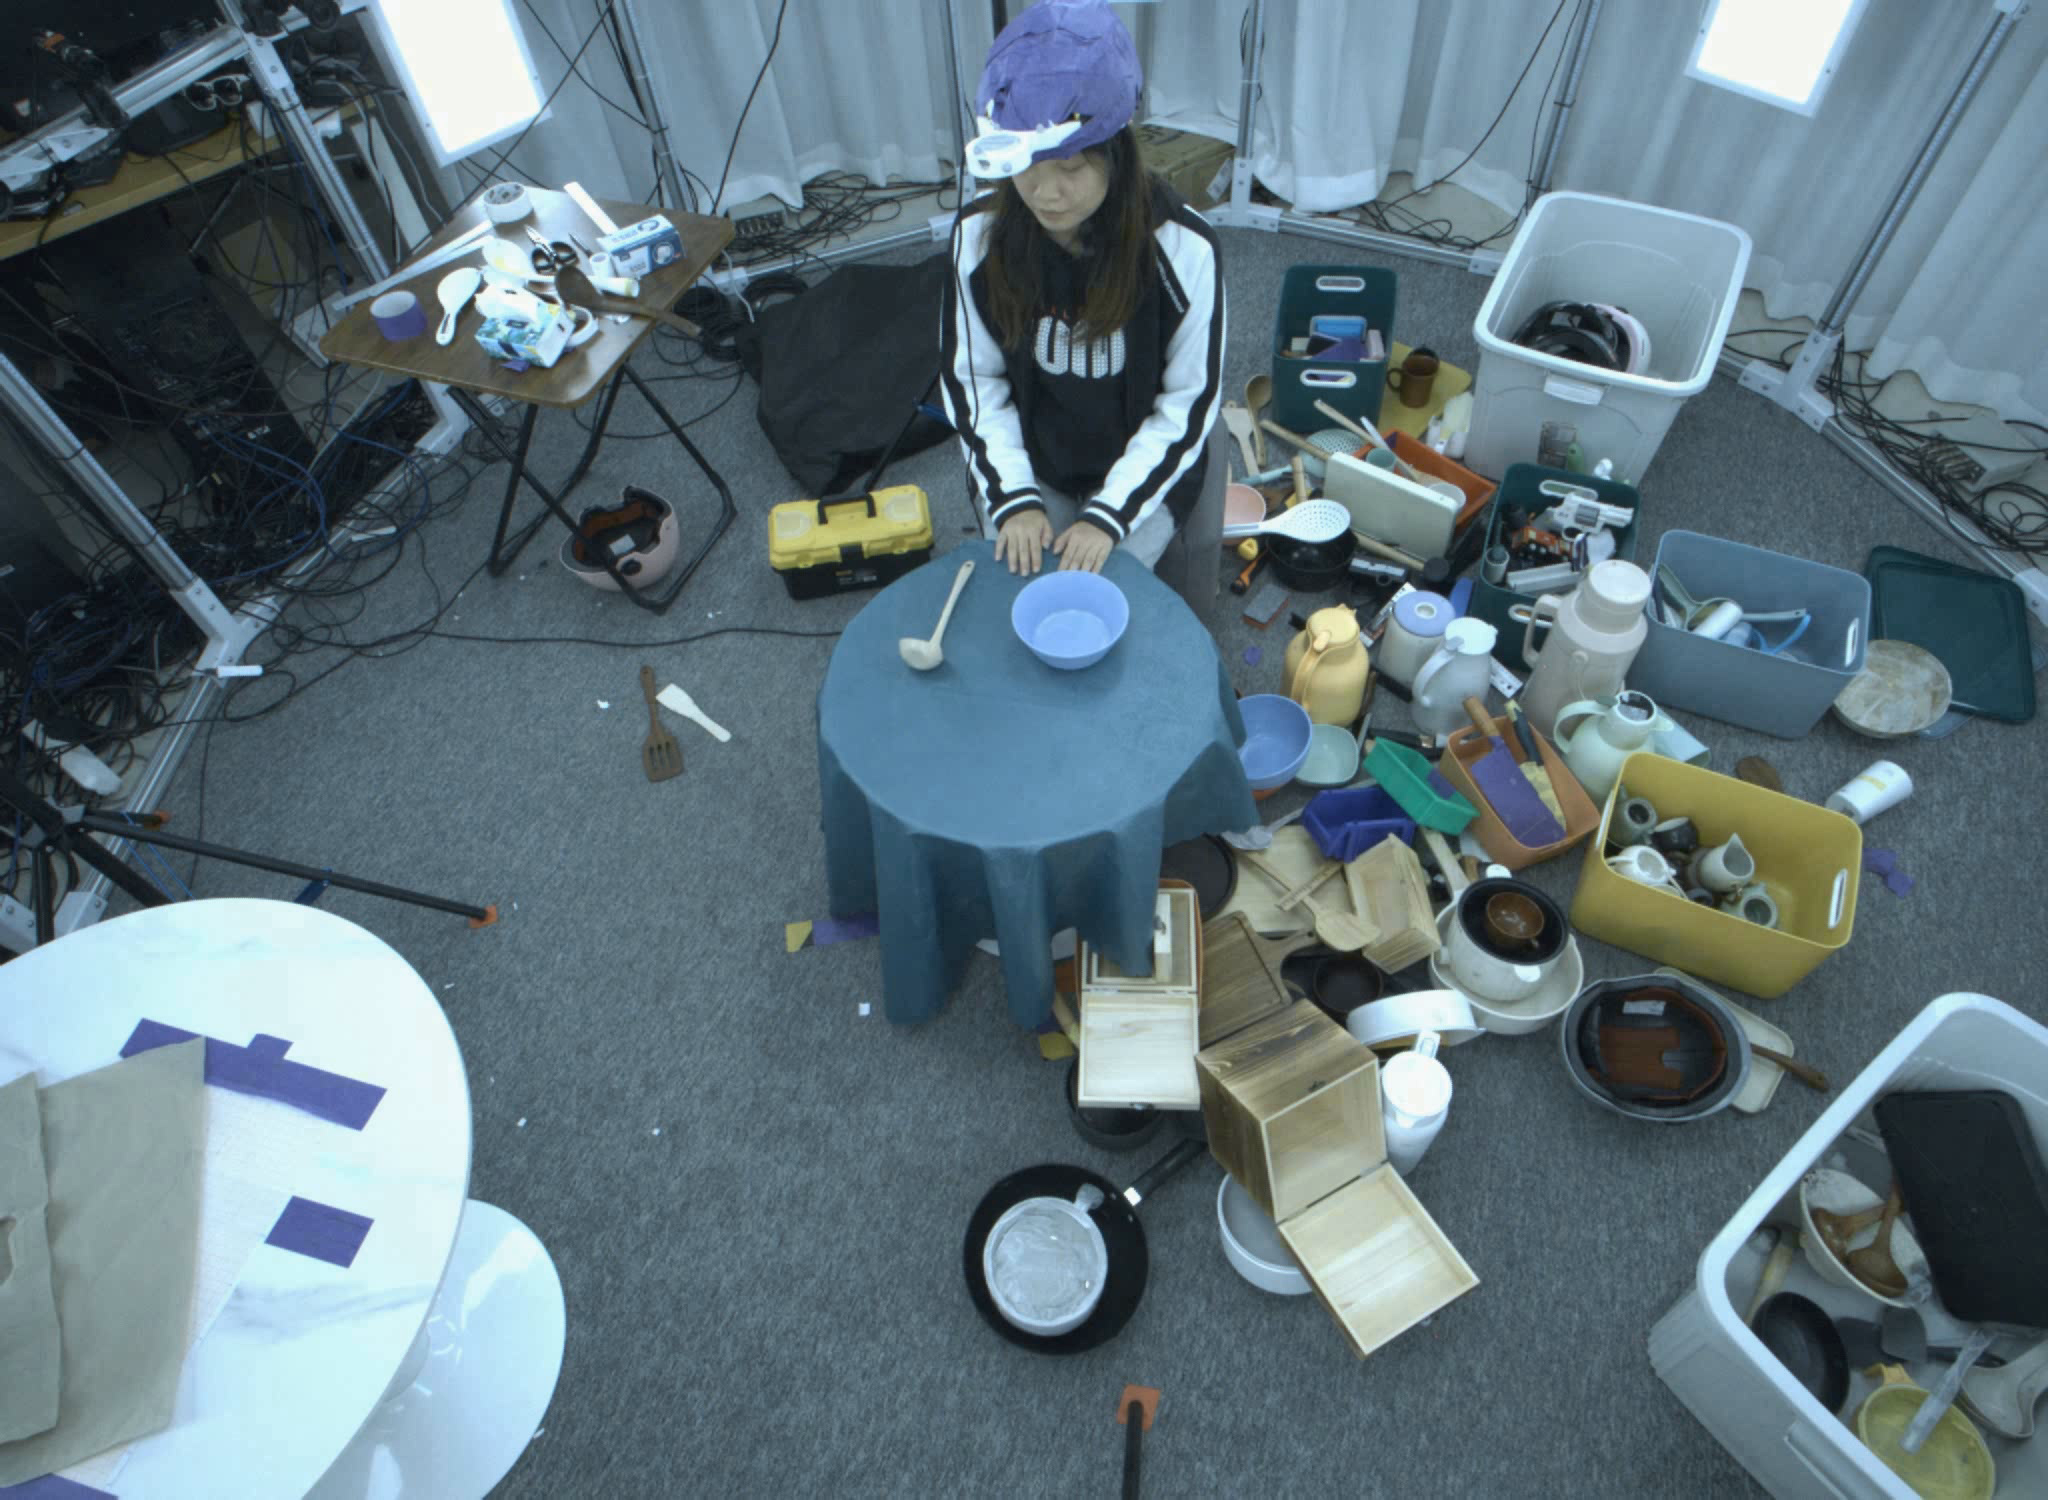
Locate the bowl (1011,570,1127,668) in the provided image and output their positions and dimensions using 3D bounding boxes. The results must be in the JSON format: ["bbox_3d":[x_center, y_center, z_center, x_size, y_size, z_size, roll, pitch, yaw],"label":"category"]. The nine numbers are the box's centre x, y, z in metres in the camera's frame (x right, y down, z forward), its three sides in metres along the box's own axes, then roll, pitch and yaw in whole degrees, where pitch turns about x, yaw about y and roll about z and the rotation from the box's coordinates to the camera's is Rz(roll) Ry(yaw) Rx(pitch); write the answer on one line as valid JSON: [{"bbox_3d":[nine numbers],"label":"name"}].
[{"bbox_3d":[0.068,-0.190,1.877,0.176,0.071,0.174,0,55,1],"label":"bowl"}]

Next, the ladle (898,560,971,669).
[{"bbox_3d":[-0.131,-0.233,1.912,0.071,0.074,0.253,8,55,14],"label":"ladle"}]
